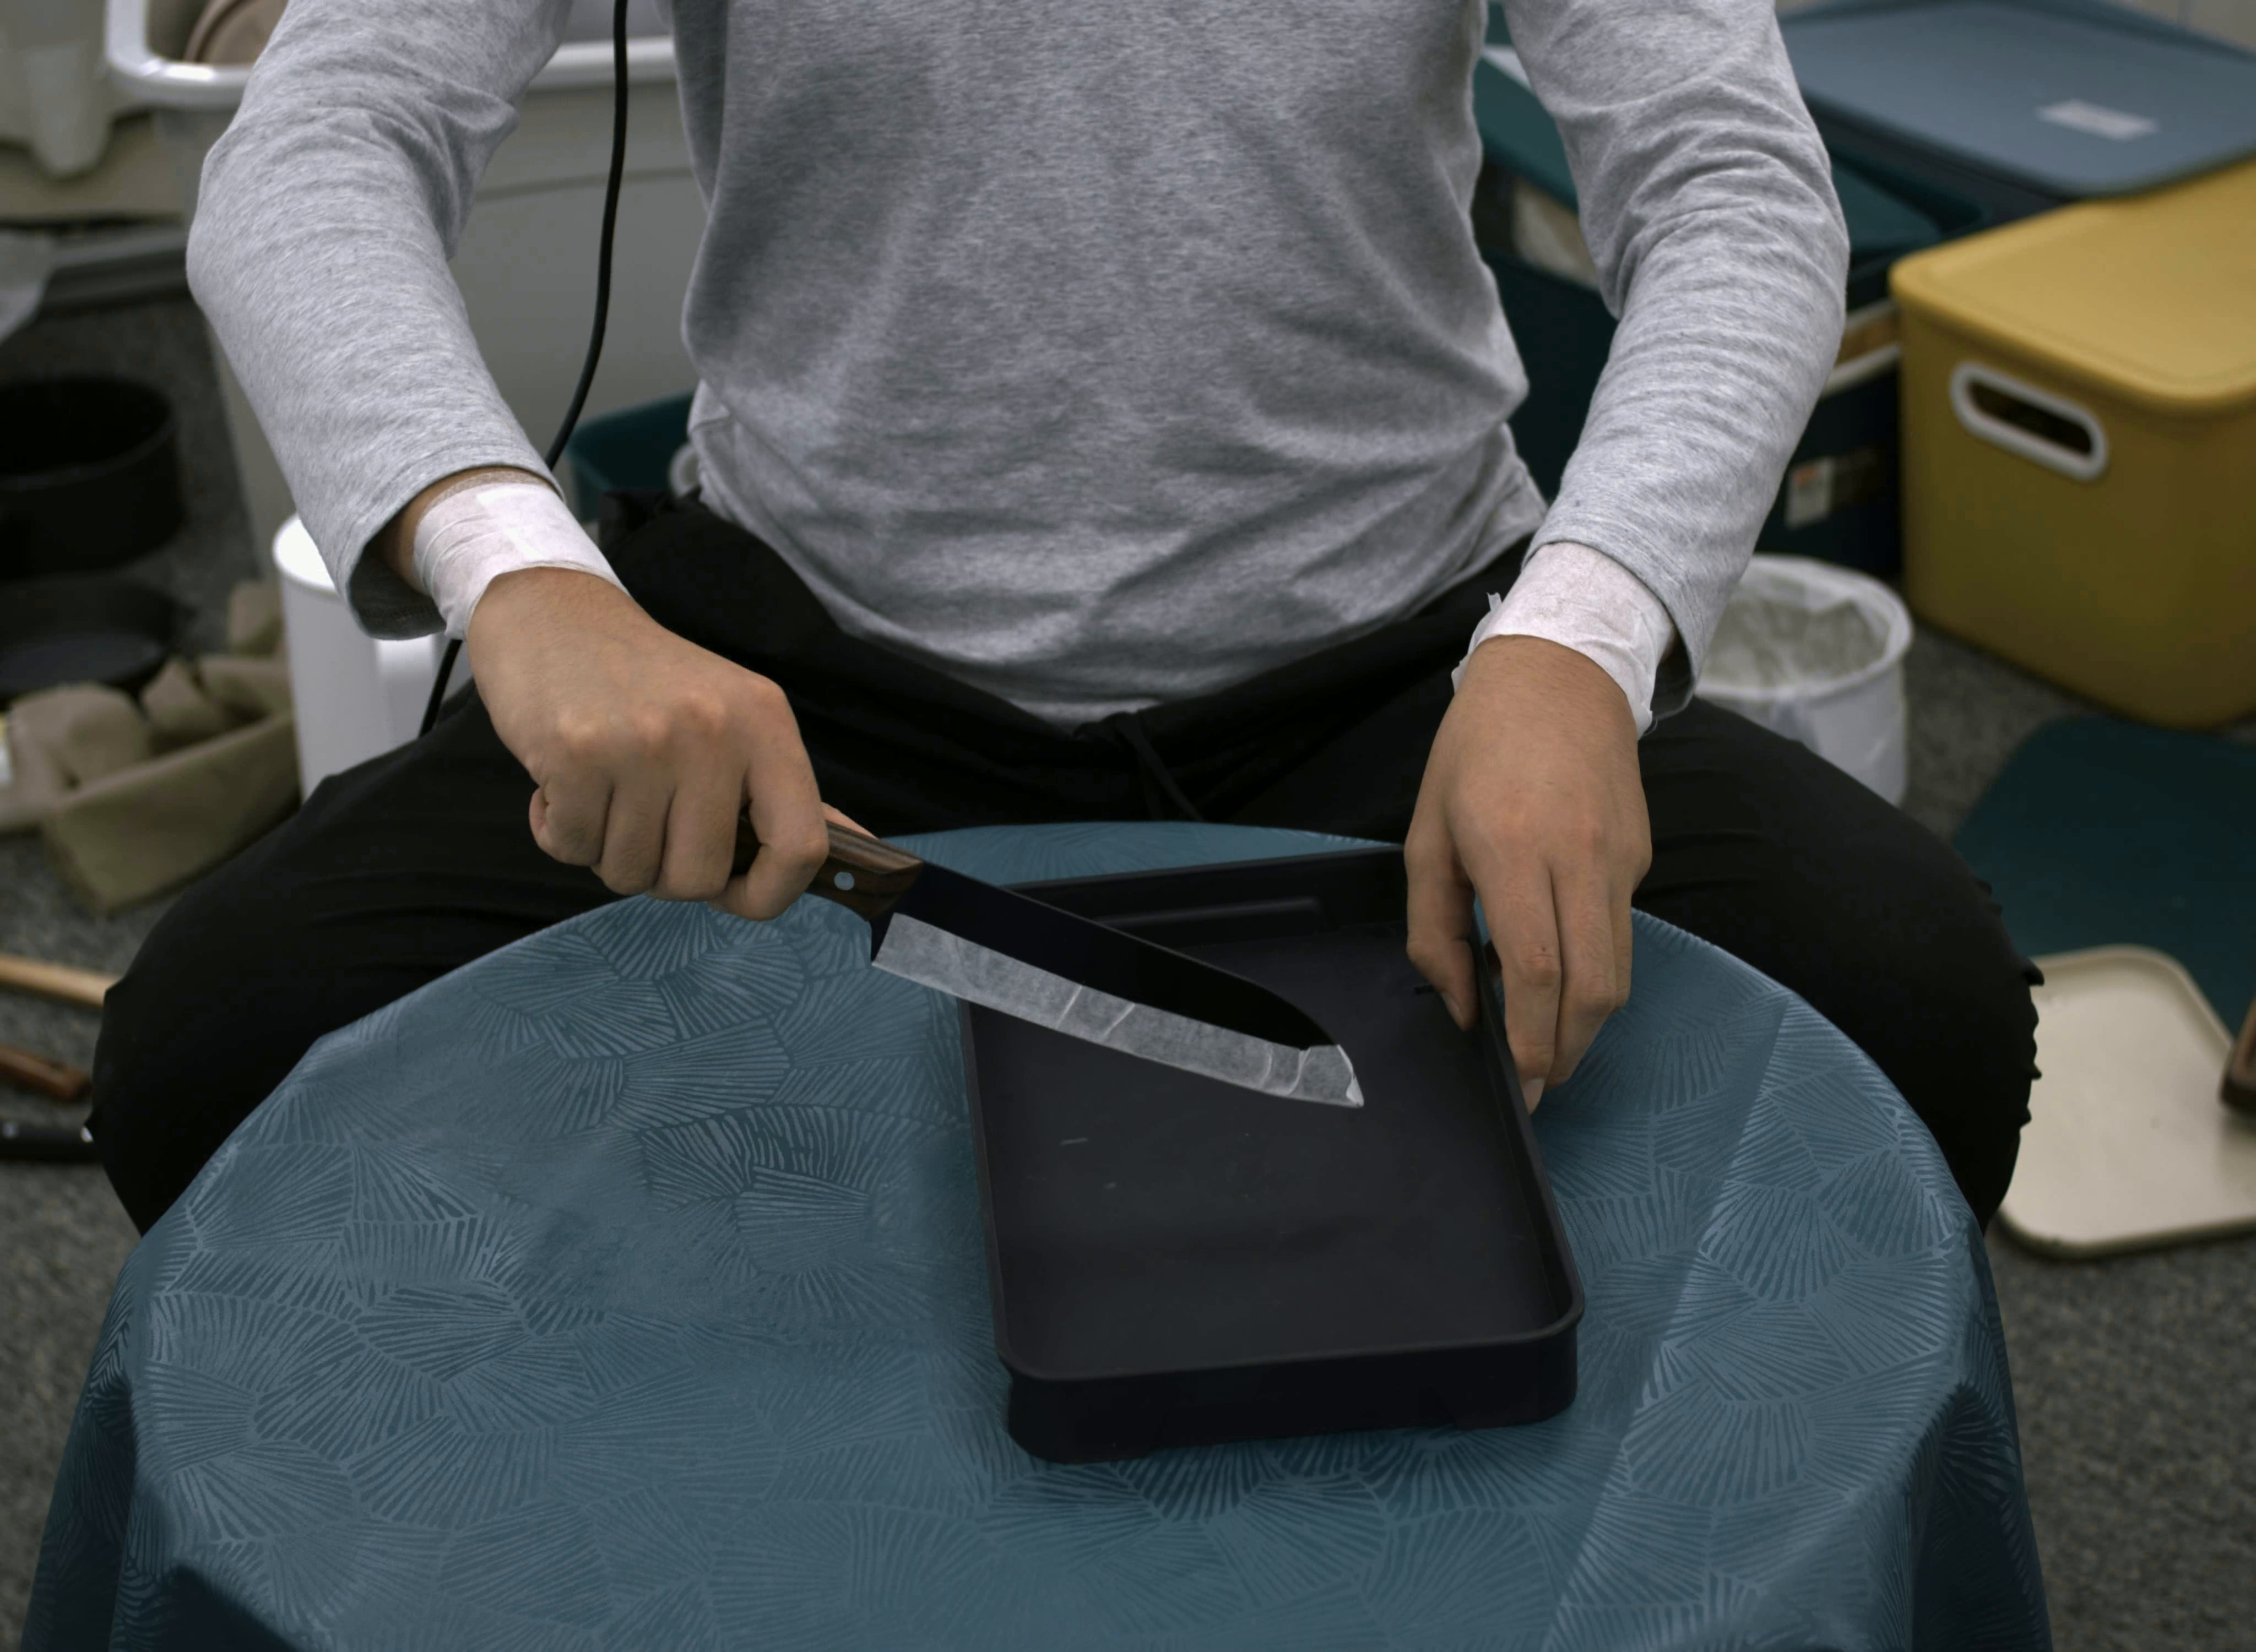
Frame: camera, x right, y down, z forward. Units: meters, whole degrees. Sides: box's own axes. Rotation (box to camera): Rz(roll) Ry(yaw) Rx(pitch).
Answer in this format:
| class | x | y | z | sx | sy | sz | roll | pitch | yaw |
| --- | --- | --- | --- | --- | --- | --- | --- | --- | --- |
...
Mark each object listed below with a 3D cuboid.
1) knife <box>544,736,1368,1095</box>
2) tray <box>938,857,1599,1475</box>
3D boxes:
| class | x | y | z | sx | sy | sz | roll | pitch | yaw |
| --- | --- | --- | --- | --- | --- | --- | --- | --- | --- |
| knife | -0.055 | 0.031 | 1.817 | 0.288 | 0.049 | 0.020 | 22 | 30 | -4 |
| tray | 0.039 | 0.105 | 1.850 | 0.184 | 0.036 | 0.322 | -6 | 27 | -5 |
